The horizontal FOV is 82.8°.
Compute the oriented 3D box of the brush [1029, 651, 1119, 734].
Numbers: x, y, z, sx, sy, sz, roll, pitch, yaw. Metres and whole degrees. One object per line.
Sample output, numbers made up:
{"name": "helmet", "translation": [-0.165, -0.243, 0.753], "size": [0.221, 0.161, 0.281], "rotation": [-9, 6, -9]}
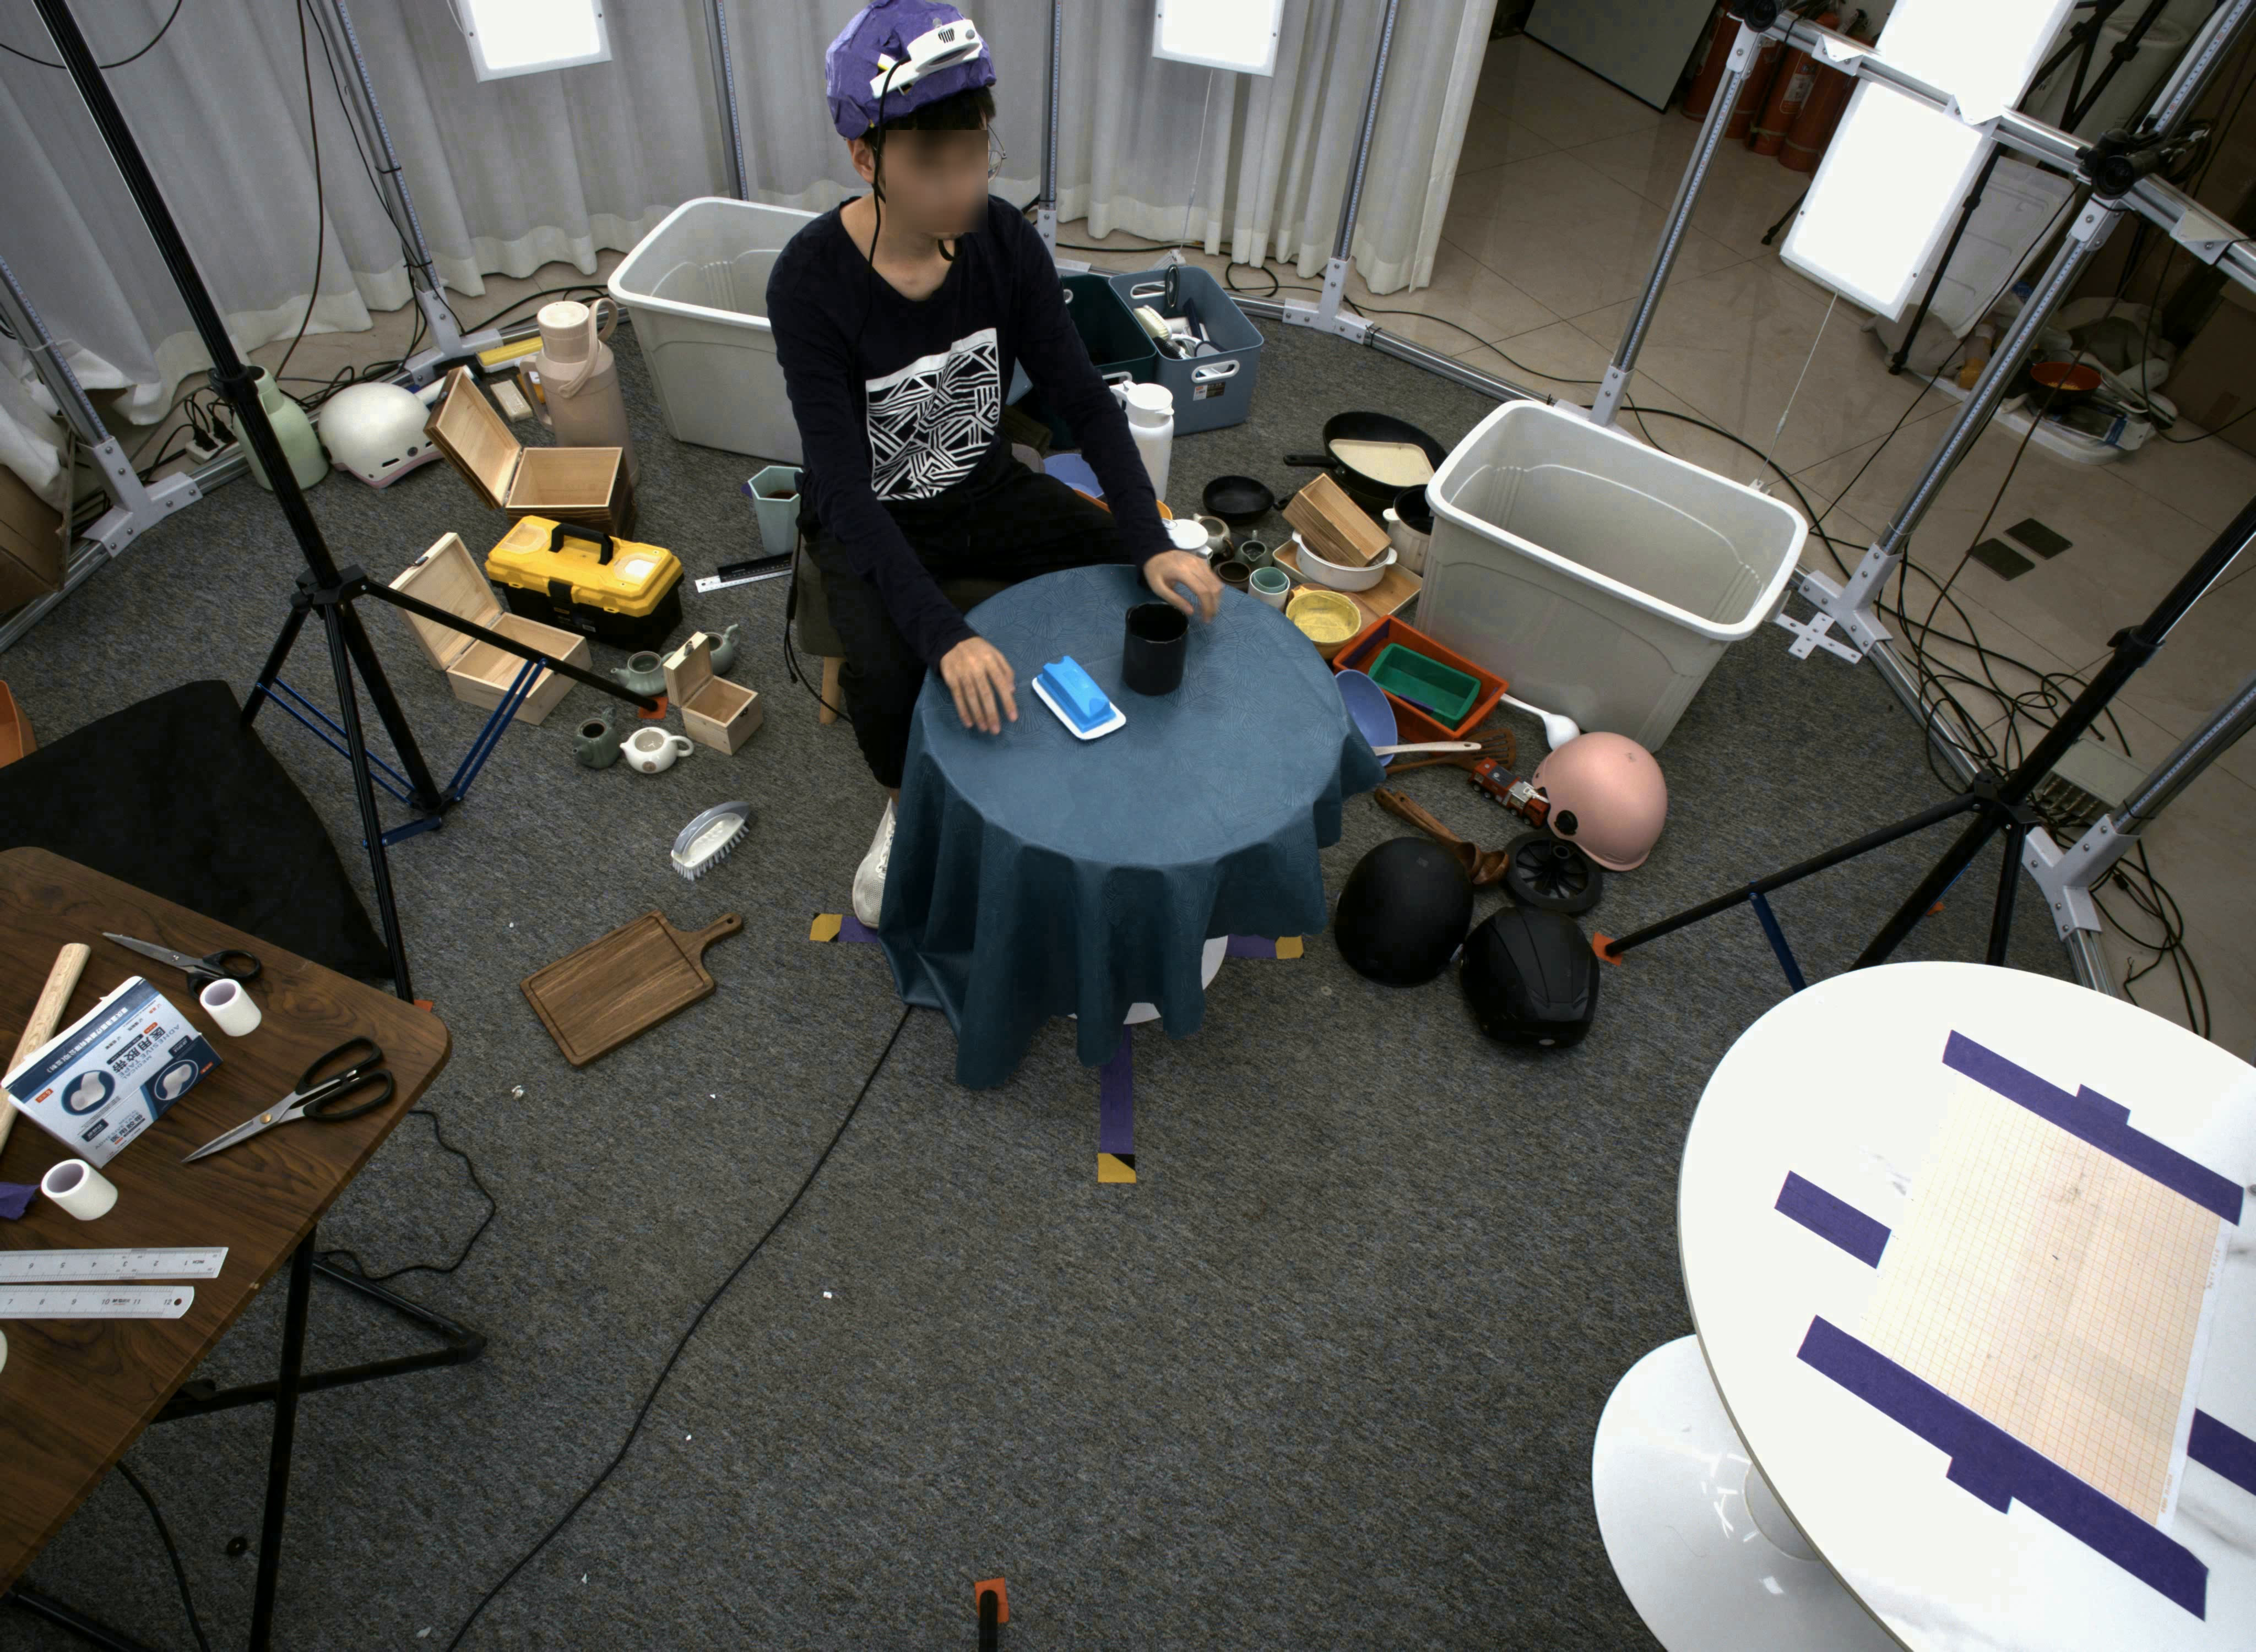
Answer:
{"name": "brush", "translation": [-0.074, -0.193, 1.791], "size": [0.084, 0.054, 0.147], "rotation": [-21, 56, -24]}

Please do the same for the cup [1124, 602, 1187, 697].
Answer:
{"name": "cup", "translation": [0.031, -0.262, 1.833], "size": [0.089, 0.102, 0.126], "rotation": [-19, 50, -17]}
